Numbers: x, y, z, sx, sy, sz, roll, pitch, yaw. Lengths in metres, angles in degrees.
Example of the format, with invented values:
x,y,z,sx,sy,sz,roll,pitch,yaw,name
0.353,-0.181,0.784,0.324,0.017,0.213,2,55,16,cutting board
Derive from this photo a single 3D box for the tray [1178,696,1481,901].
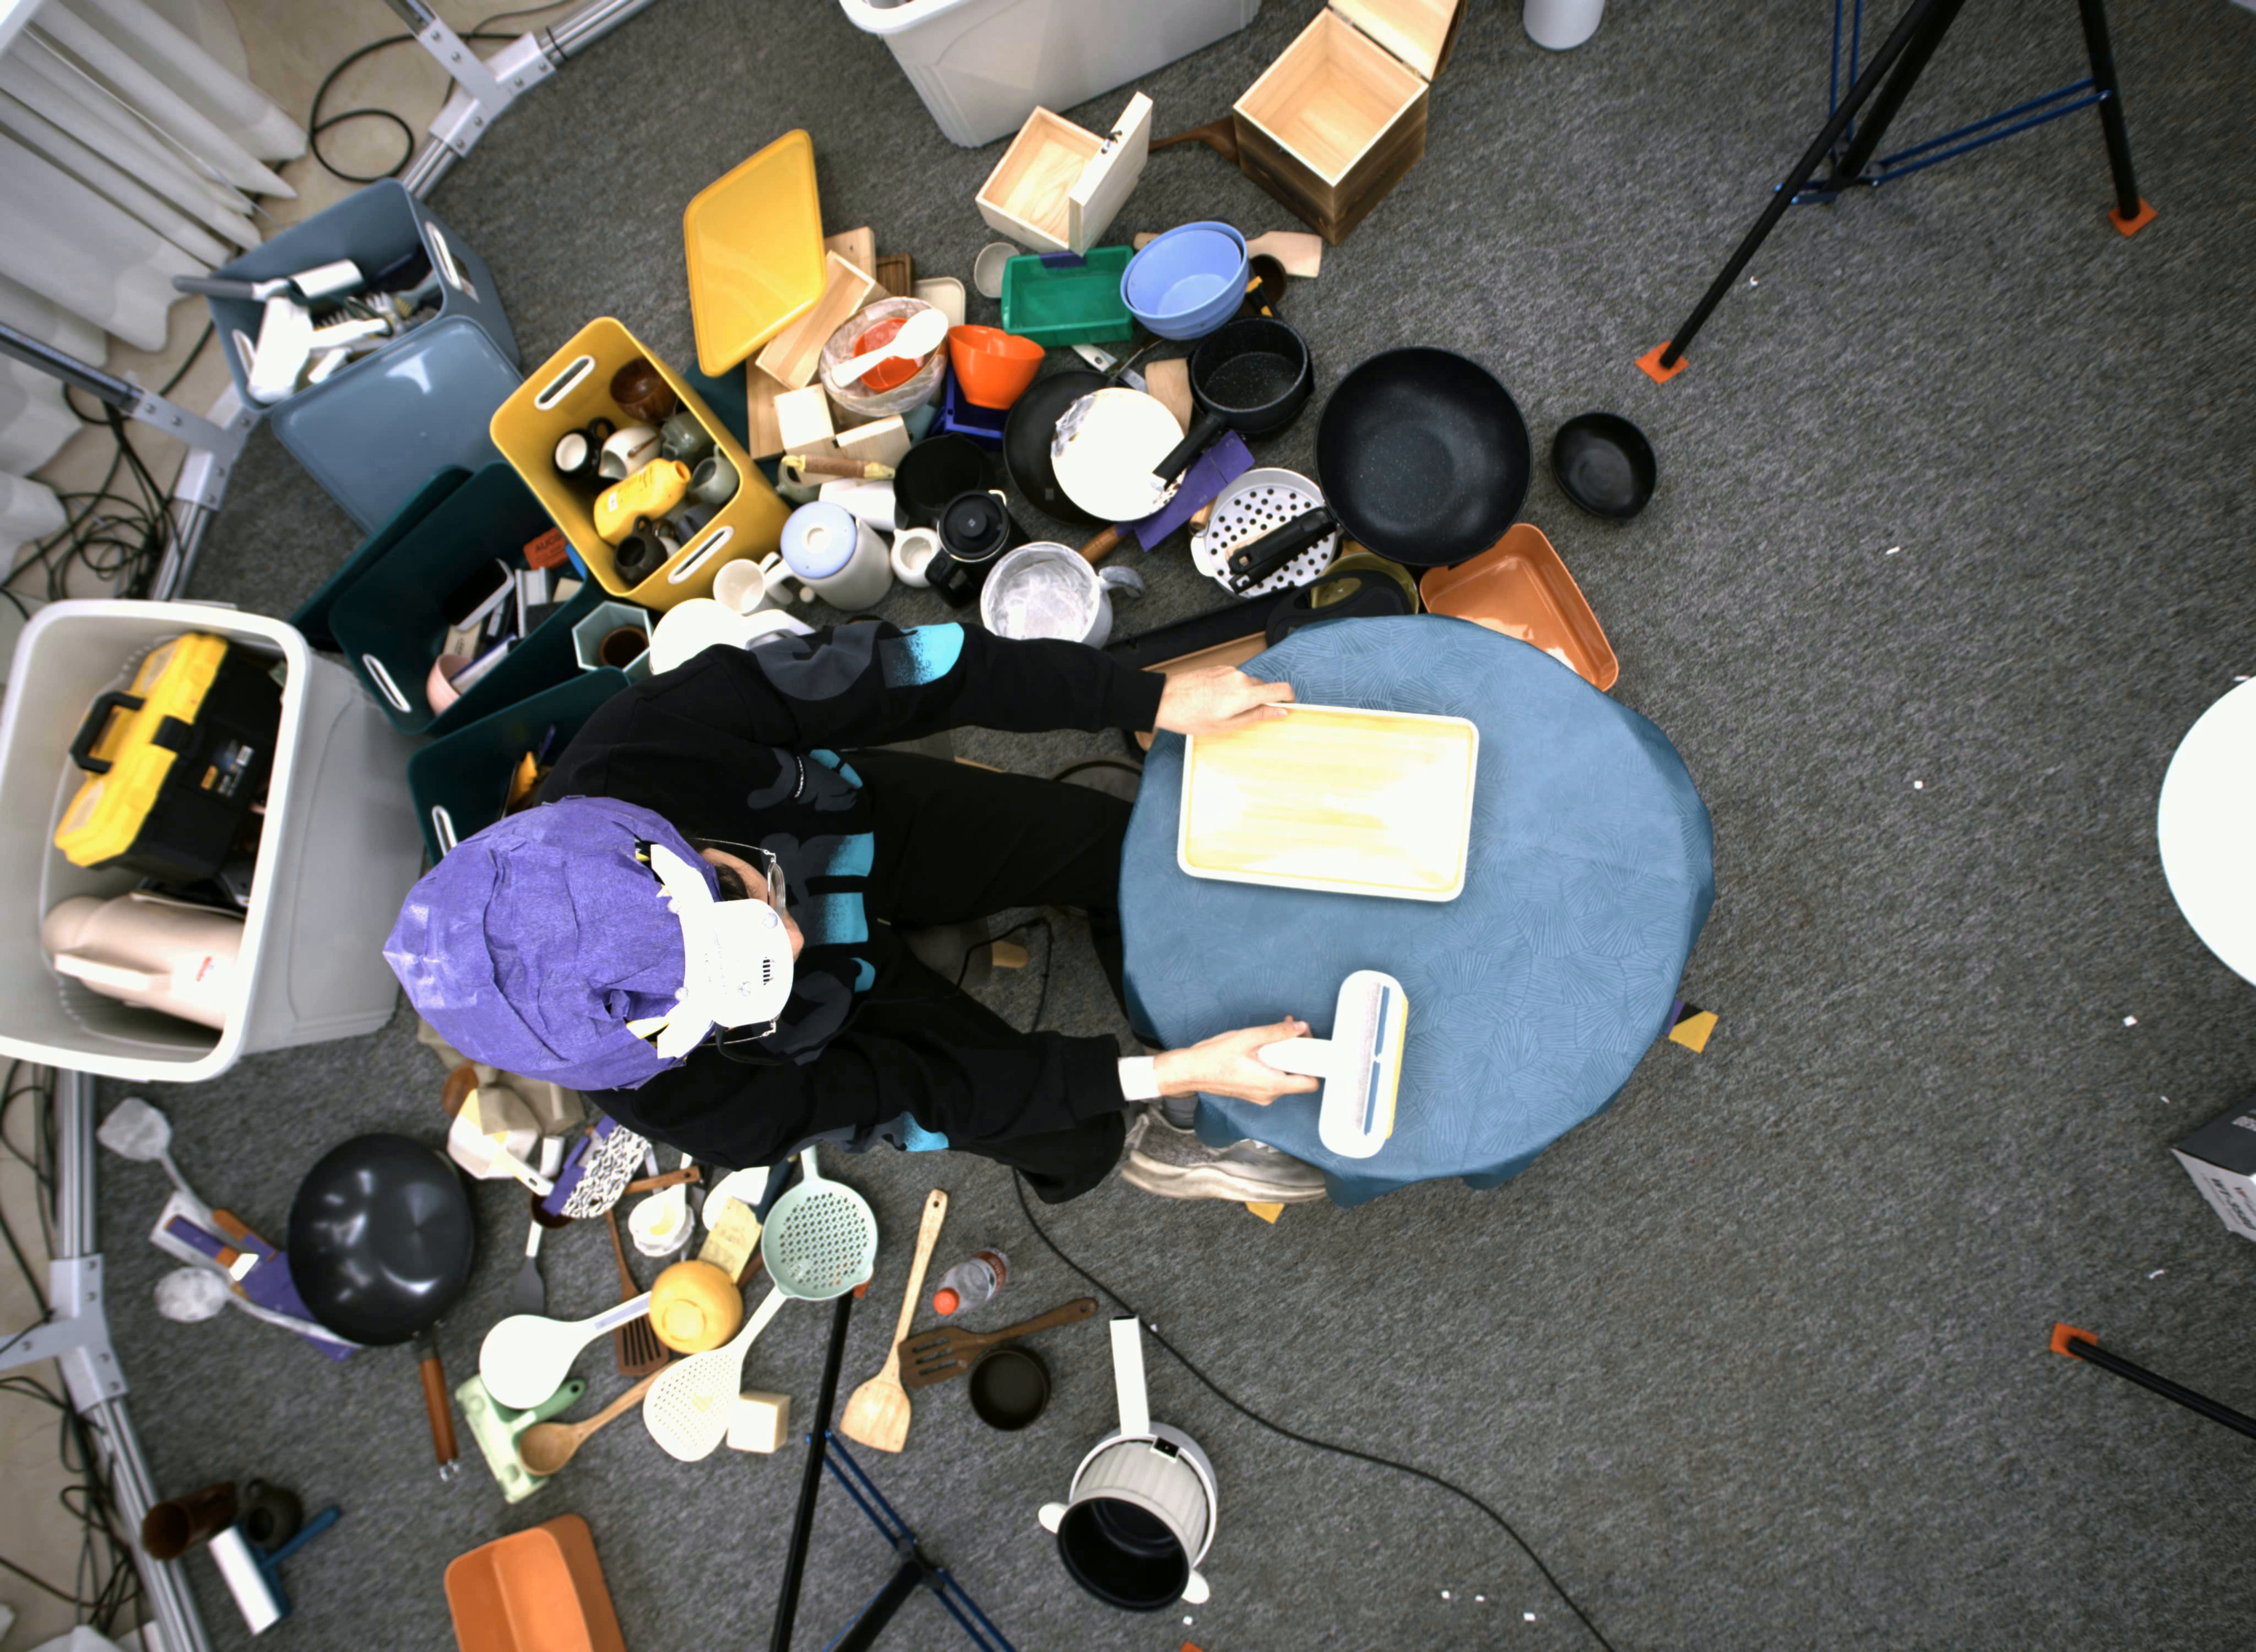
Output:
x,y,z,sx,sy,sz,roll,pitch,yaw,name
0.207,-0.031,1.438,0.301,0.027,0.193,6,101,10,tray

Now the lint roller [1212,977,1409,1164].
x,y,z,sx,sy,sz,roll,pitch,yaw,name
0.179,0.236,1.412,0.193,0.075,0.189,11,71,11,lint roller
